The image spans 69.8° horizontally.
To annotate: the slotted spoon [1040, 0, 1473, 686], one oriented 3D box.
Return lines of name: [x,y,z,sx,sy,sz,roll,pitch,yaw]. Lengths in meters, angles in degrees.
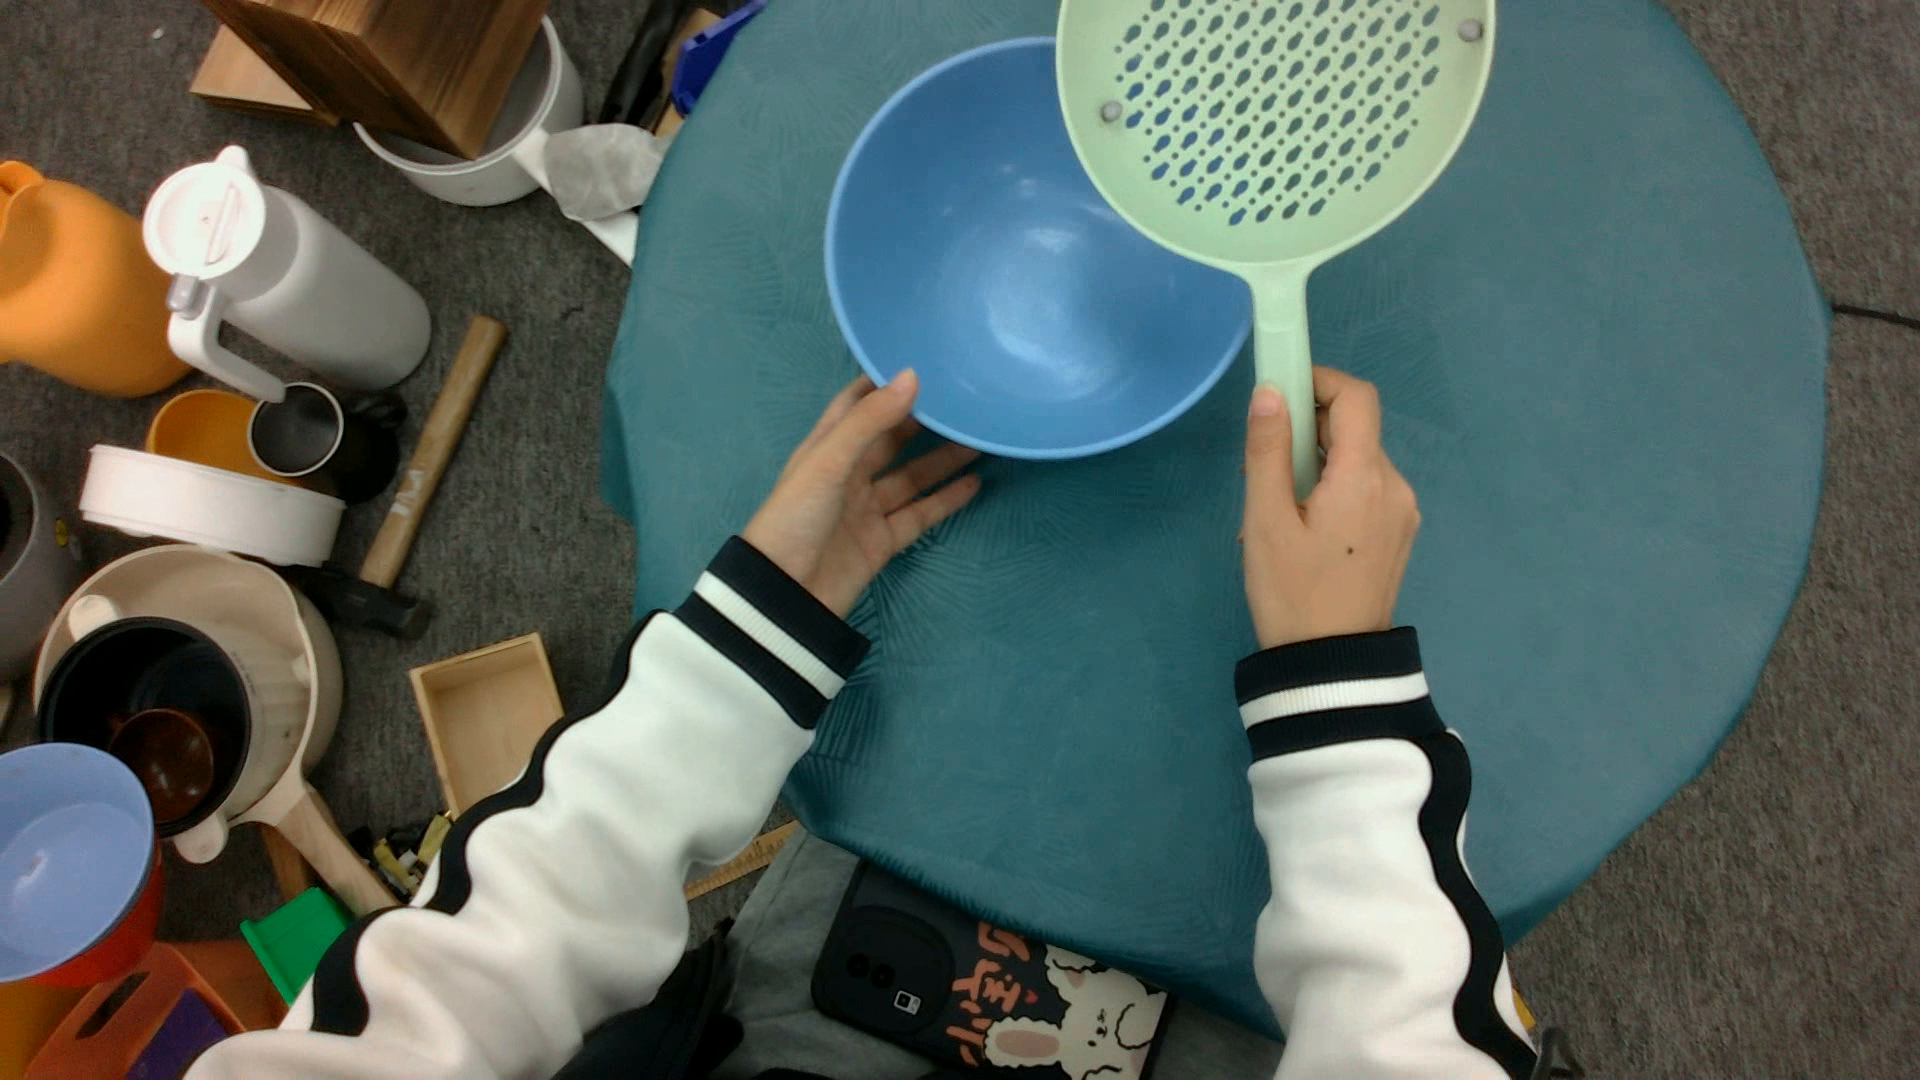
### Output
slotted spoon: [0.129,-0.108,0.578,0.169,0.075,0.358,-2,95,21]

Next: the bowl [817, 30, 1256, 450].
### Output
bowl: [0.036,-0.128,0.655,0.196,0.095,0.197,0,79,2]
